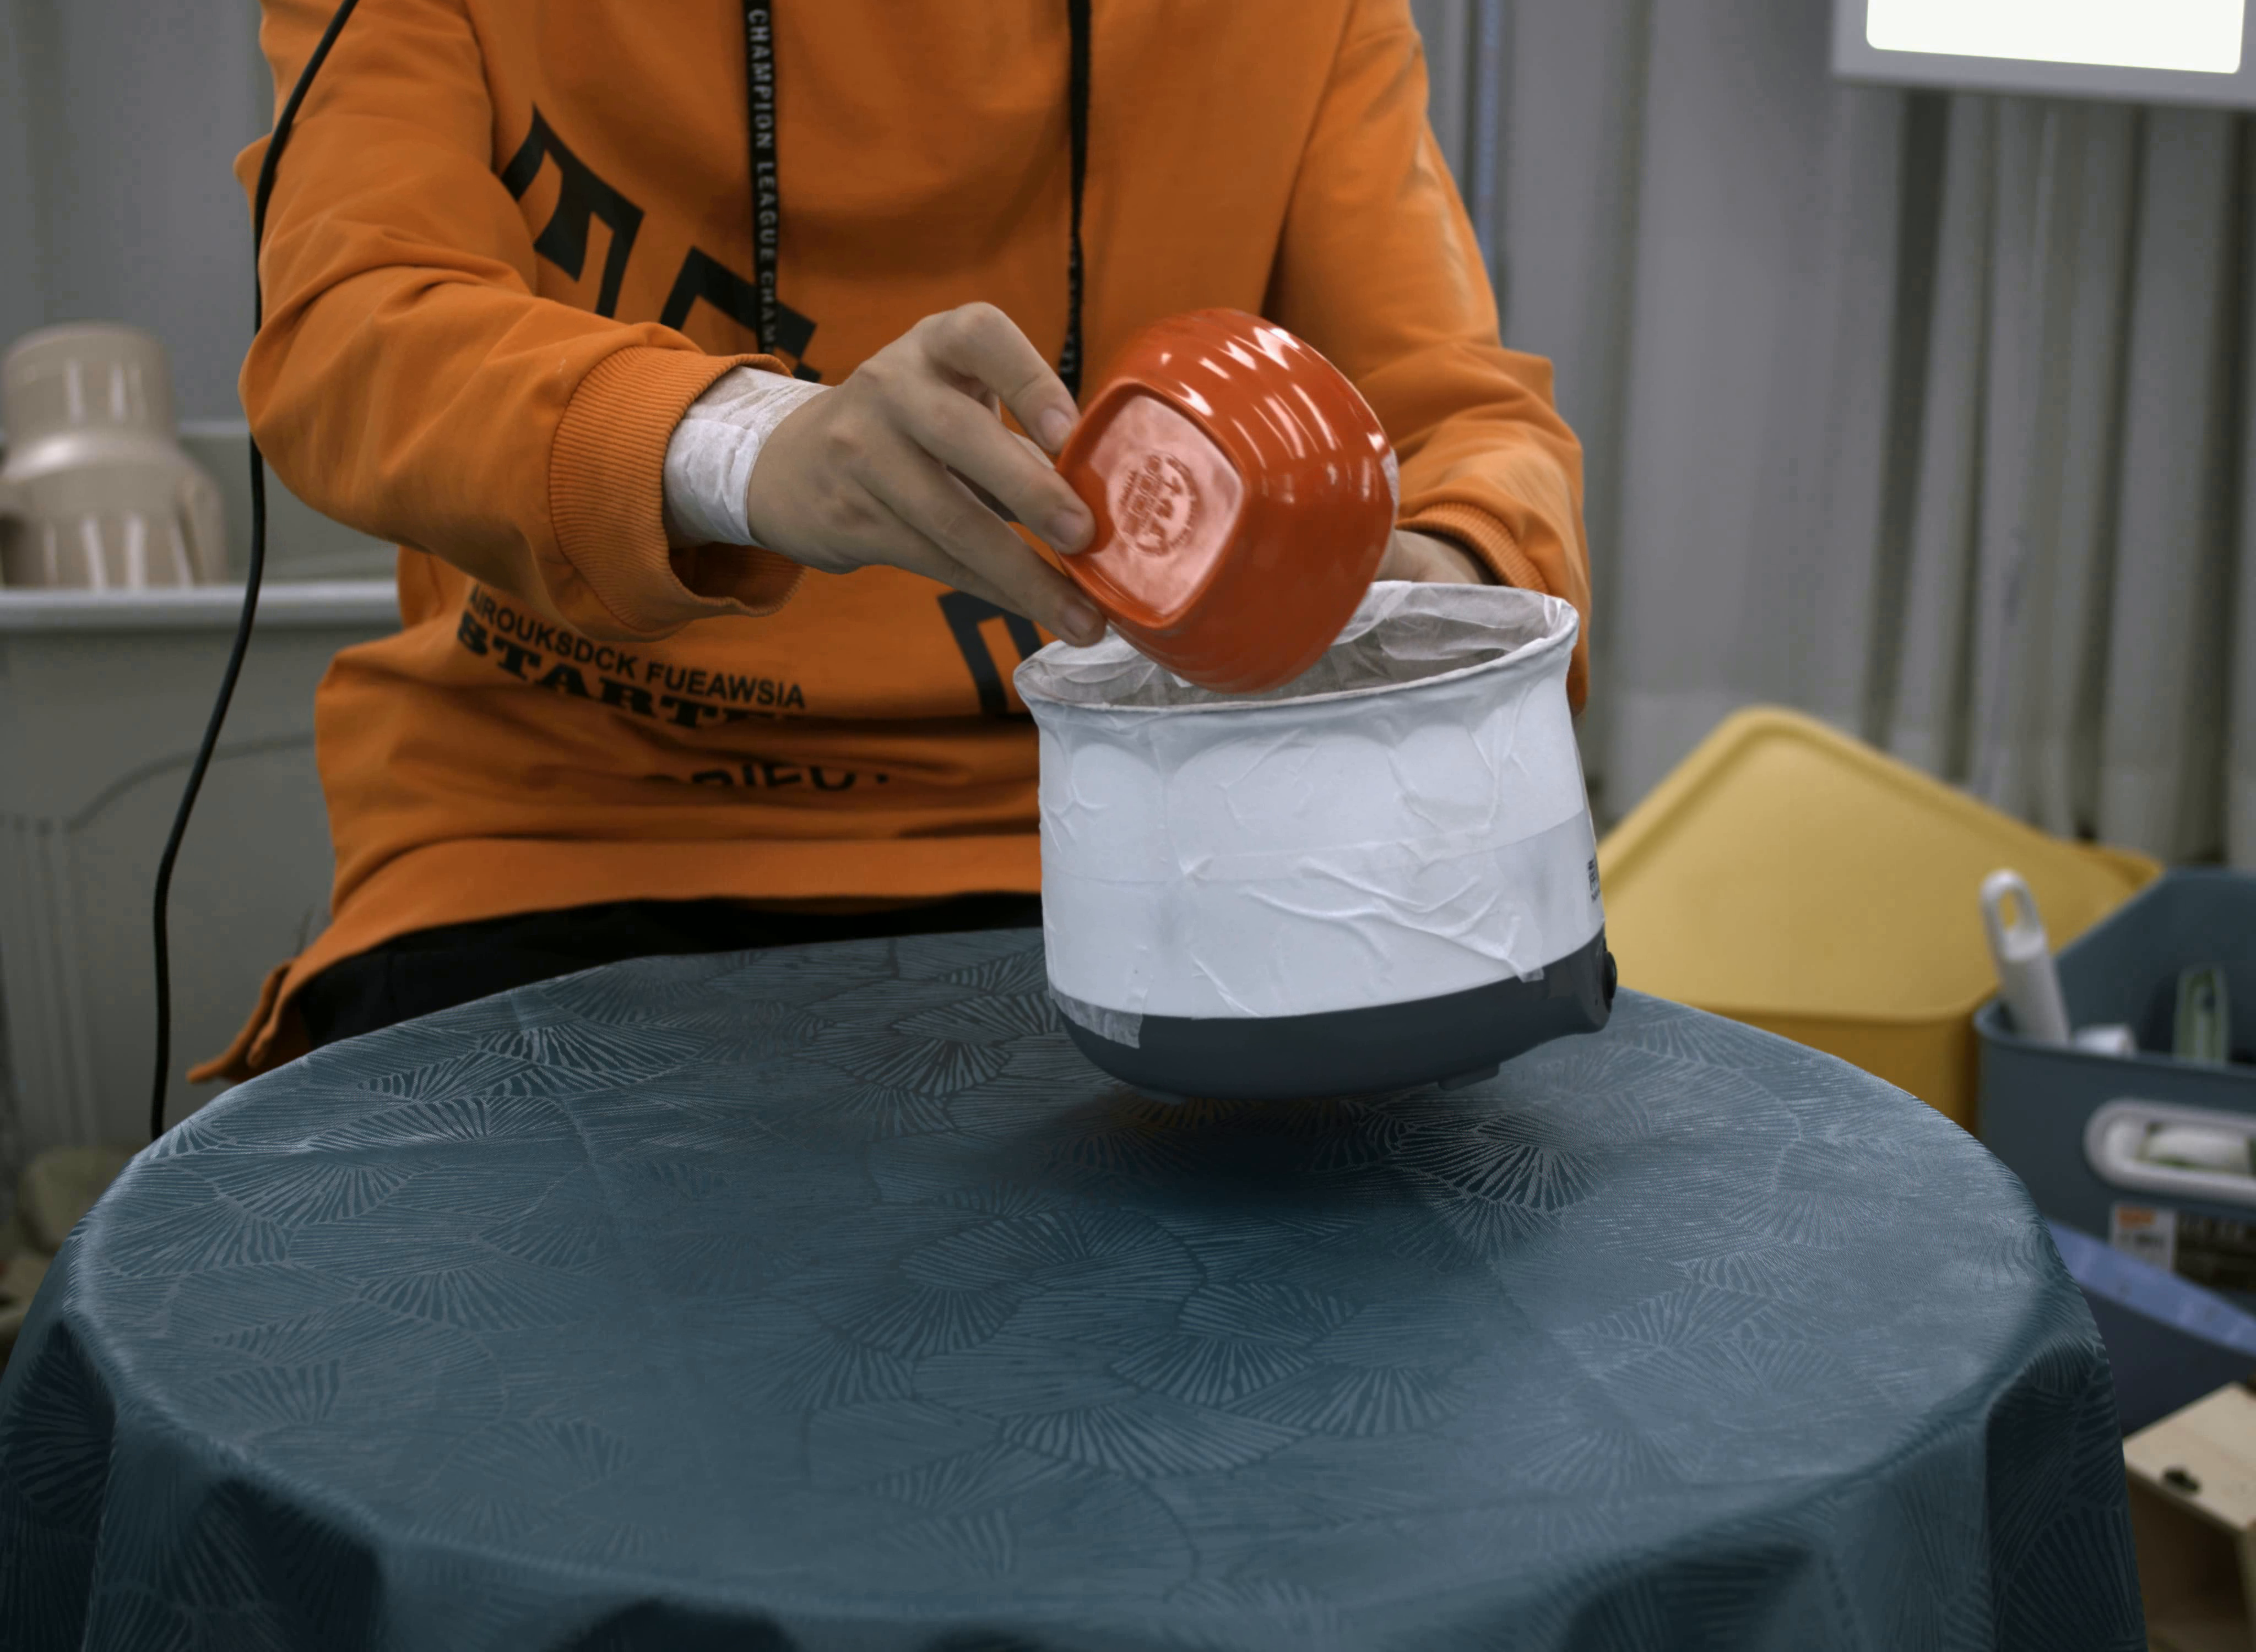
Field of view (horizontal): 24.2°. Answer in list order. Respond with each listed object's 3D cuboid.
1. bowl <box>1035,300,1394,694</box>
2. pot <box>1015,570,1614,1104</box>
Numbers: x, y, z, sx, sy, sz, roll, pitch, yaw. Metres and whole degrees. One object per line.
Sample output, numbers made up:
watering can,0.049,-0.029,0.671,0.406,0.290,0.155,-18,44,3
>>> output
bowl,0.017,-0.098,1.577,0.117,0.119,0.051,12,11,33
pot,0.063,-0.002,1.675,0.177,0.137,0.233,-4,13,9
